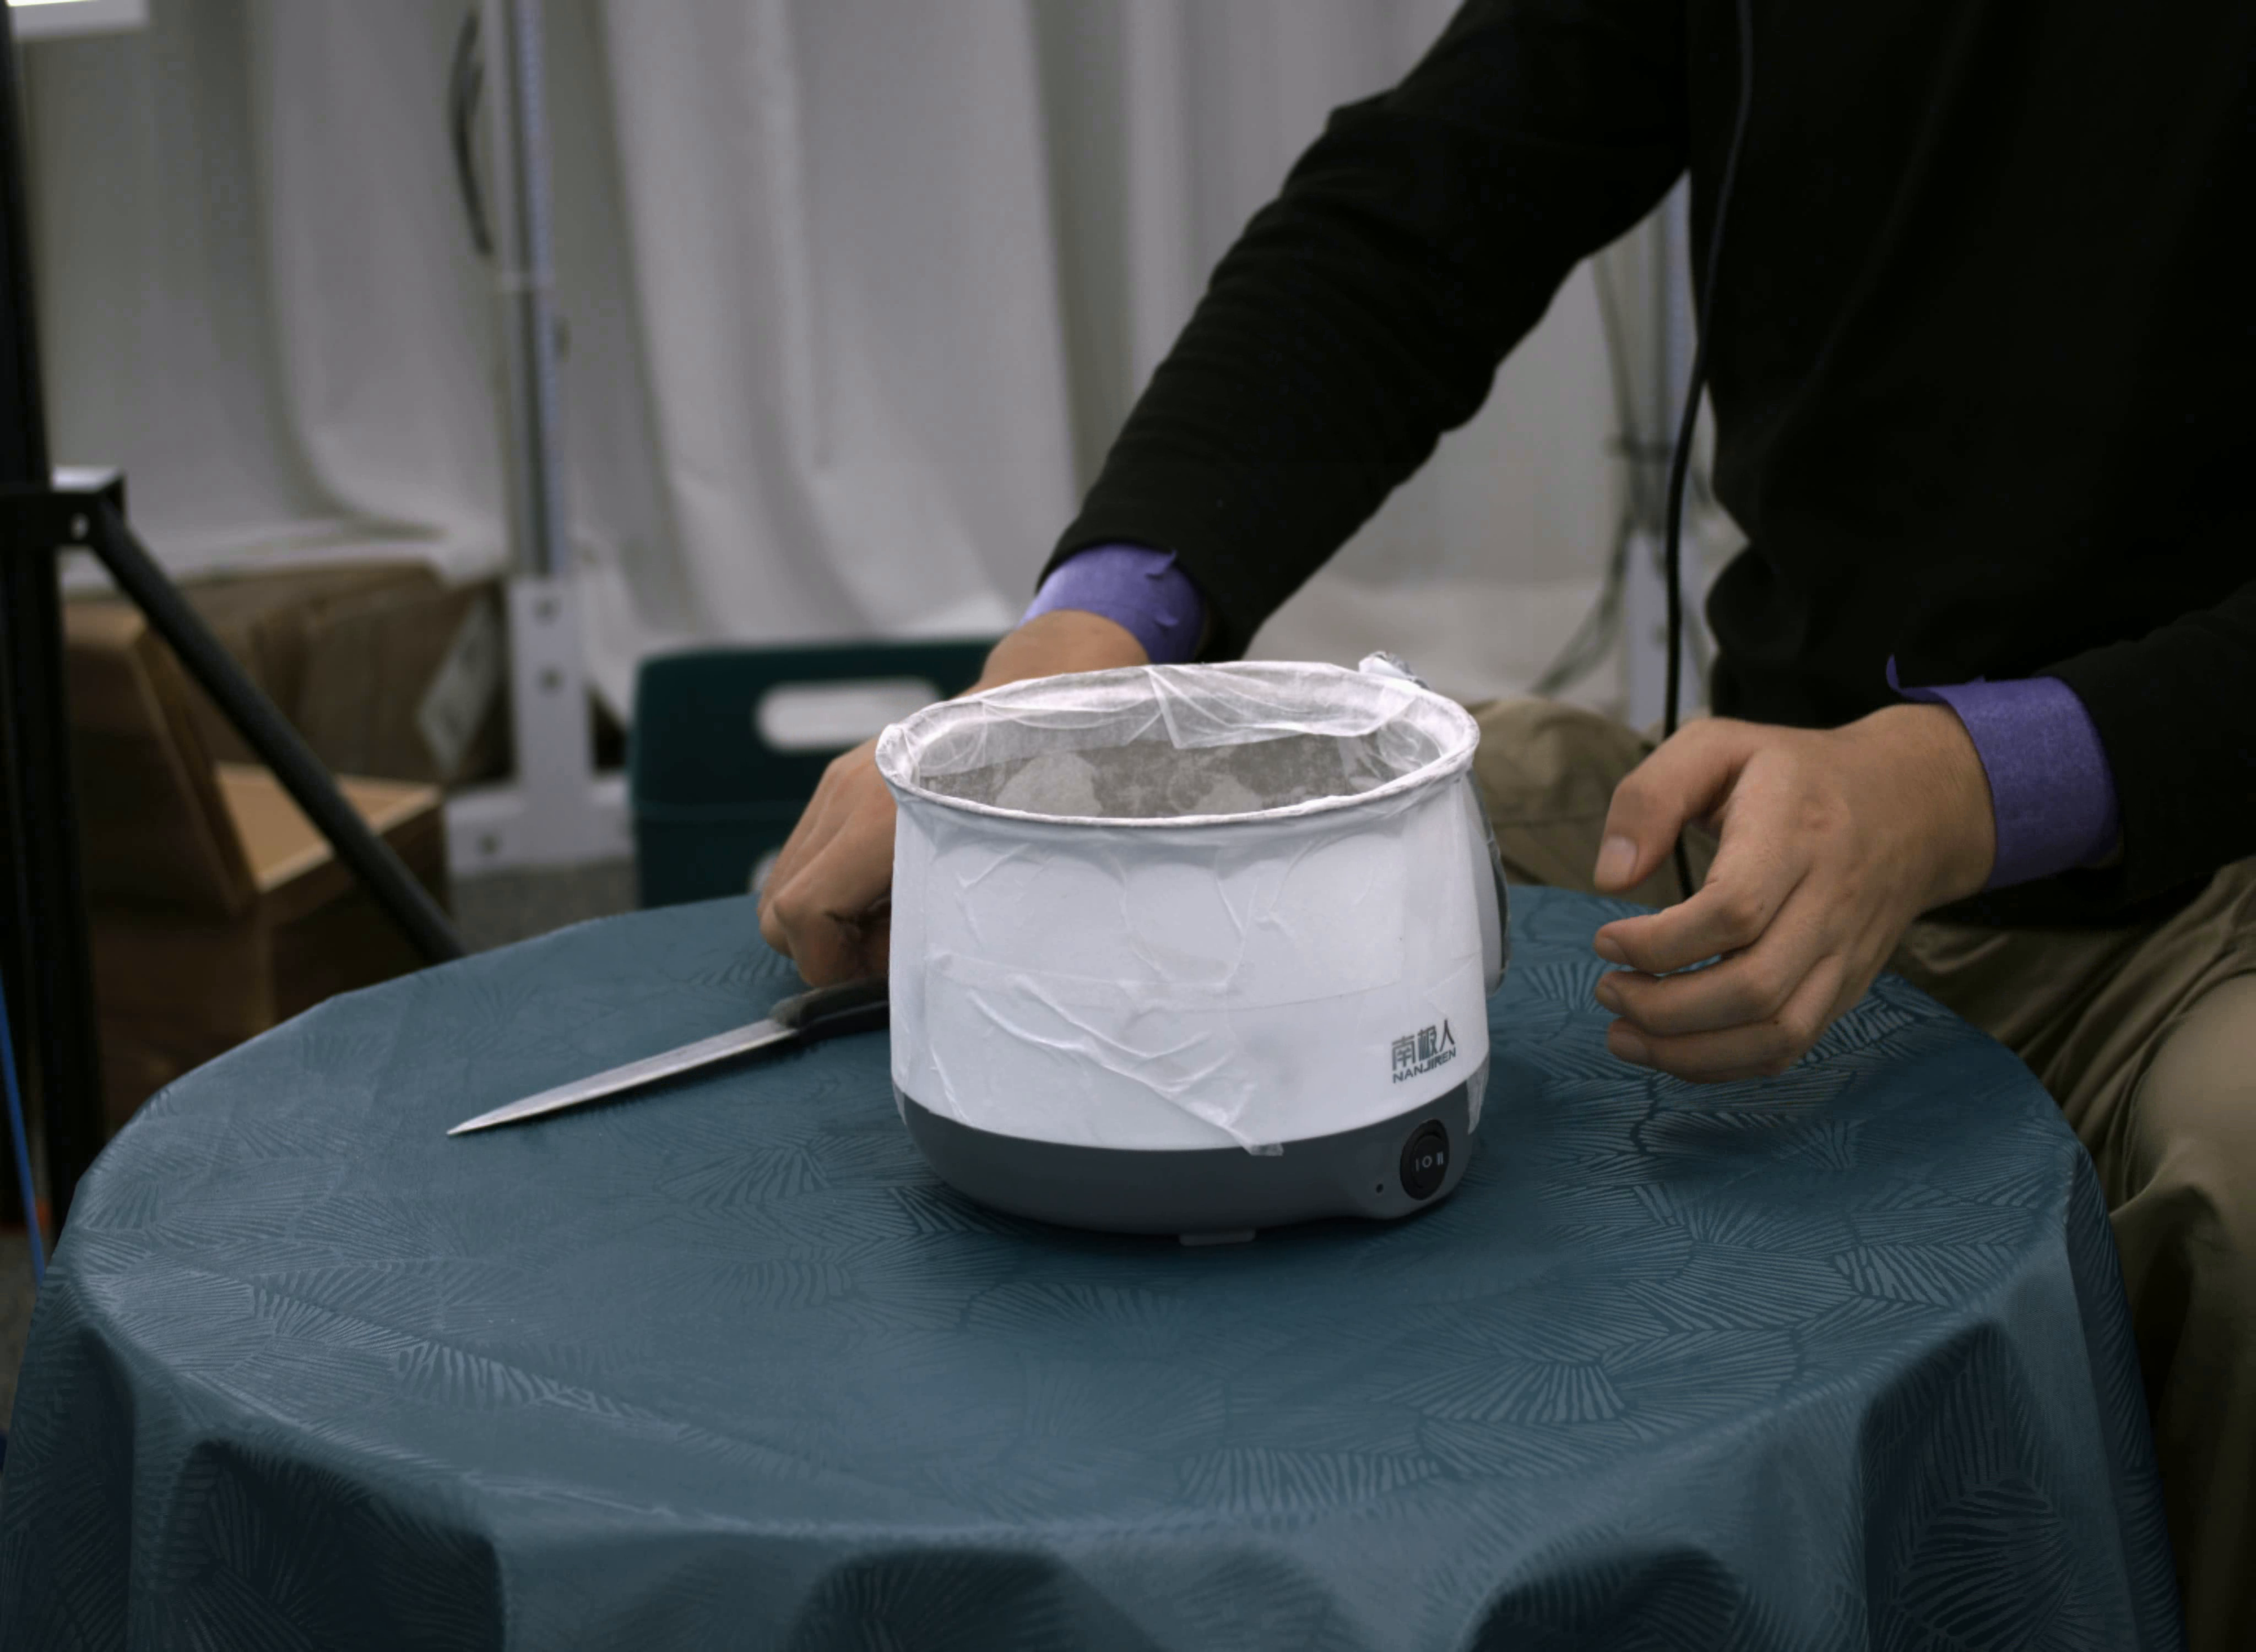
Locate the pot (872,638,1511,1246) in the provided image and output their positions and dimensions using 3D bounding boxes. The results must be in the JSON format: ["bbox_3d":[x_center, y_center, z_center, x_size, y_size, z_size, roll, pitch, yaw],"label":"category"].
[{"bbox_3d":[0.034,0.027,1.577,0.182,0.136,0.229,11,22,38],"label":"pot"}]

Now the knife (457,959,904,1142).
[{"bbox_3d":[-0.116,0.067,1.699,0.233,0.016,0.025,-18,20,-35],"label":"knife"}]
